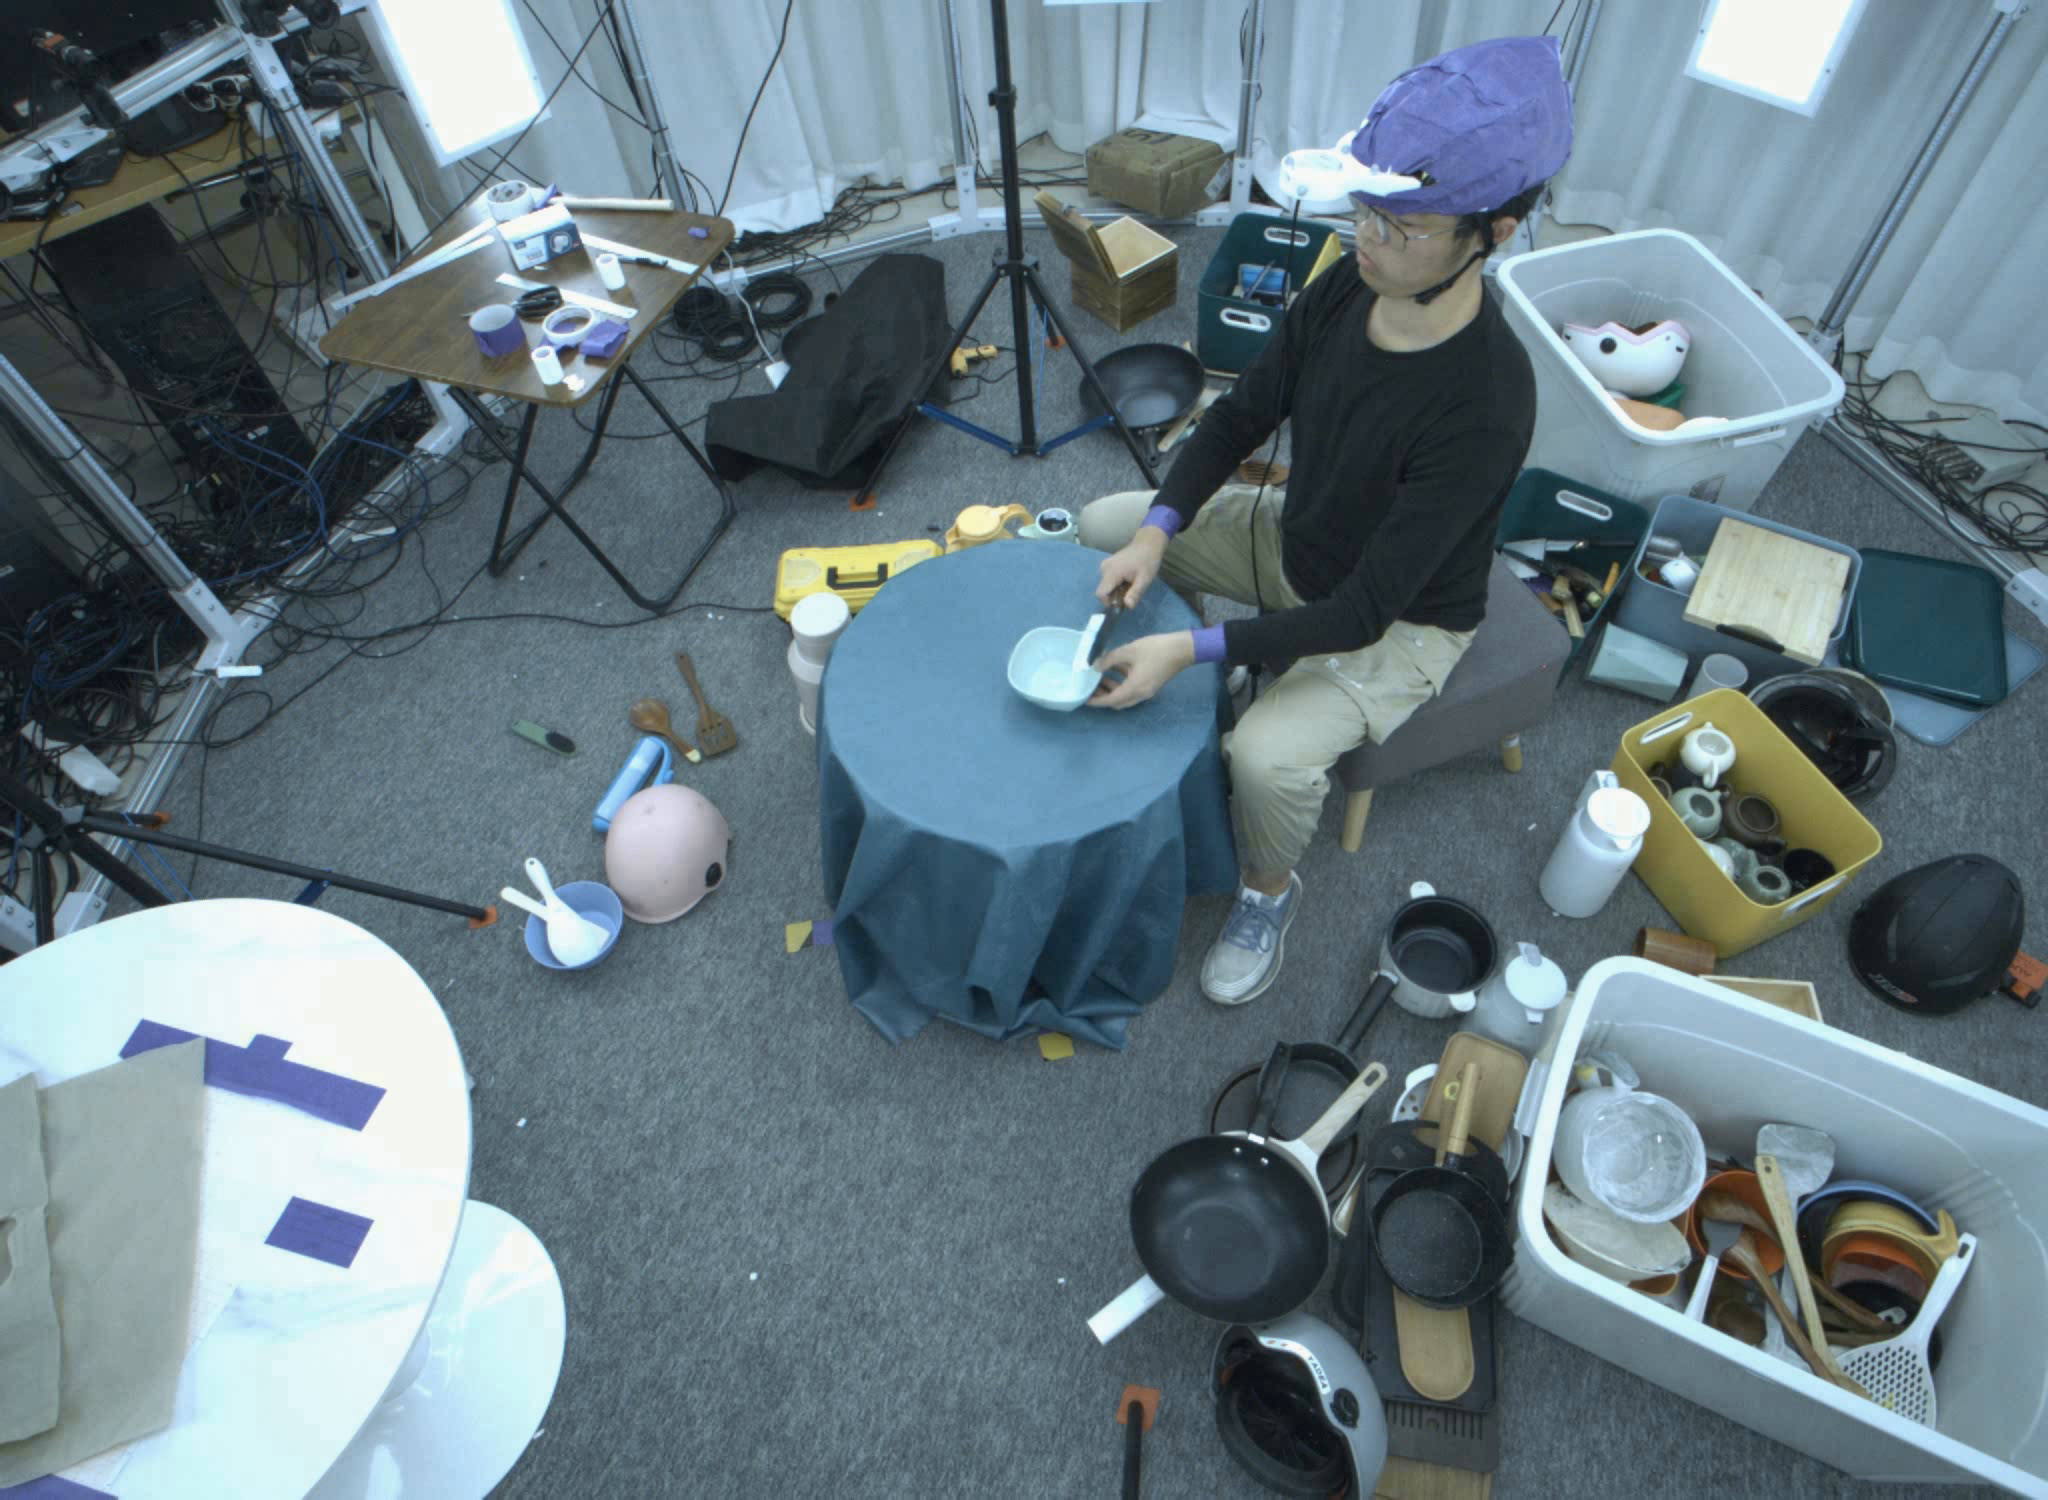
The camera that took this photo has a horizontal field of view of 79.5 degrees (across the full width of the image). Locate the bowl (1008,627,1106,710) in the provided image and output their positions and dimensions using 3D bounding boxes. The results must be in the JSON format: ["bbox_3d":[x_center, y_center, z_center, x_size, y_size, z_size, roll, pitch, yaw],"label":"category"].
[{"bbox_3d":[0.050,-0.111,1.826,0.151,0.059,0.150,0,56,2],"label":"bowl"}]

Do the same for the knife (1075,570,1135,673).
[{"bbox_3d":[0.120,-0.190,1.805,0.049,0.020,0.289,-2,35,24],"label":"knife"}]
